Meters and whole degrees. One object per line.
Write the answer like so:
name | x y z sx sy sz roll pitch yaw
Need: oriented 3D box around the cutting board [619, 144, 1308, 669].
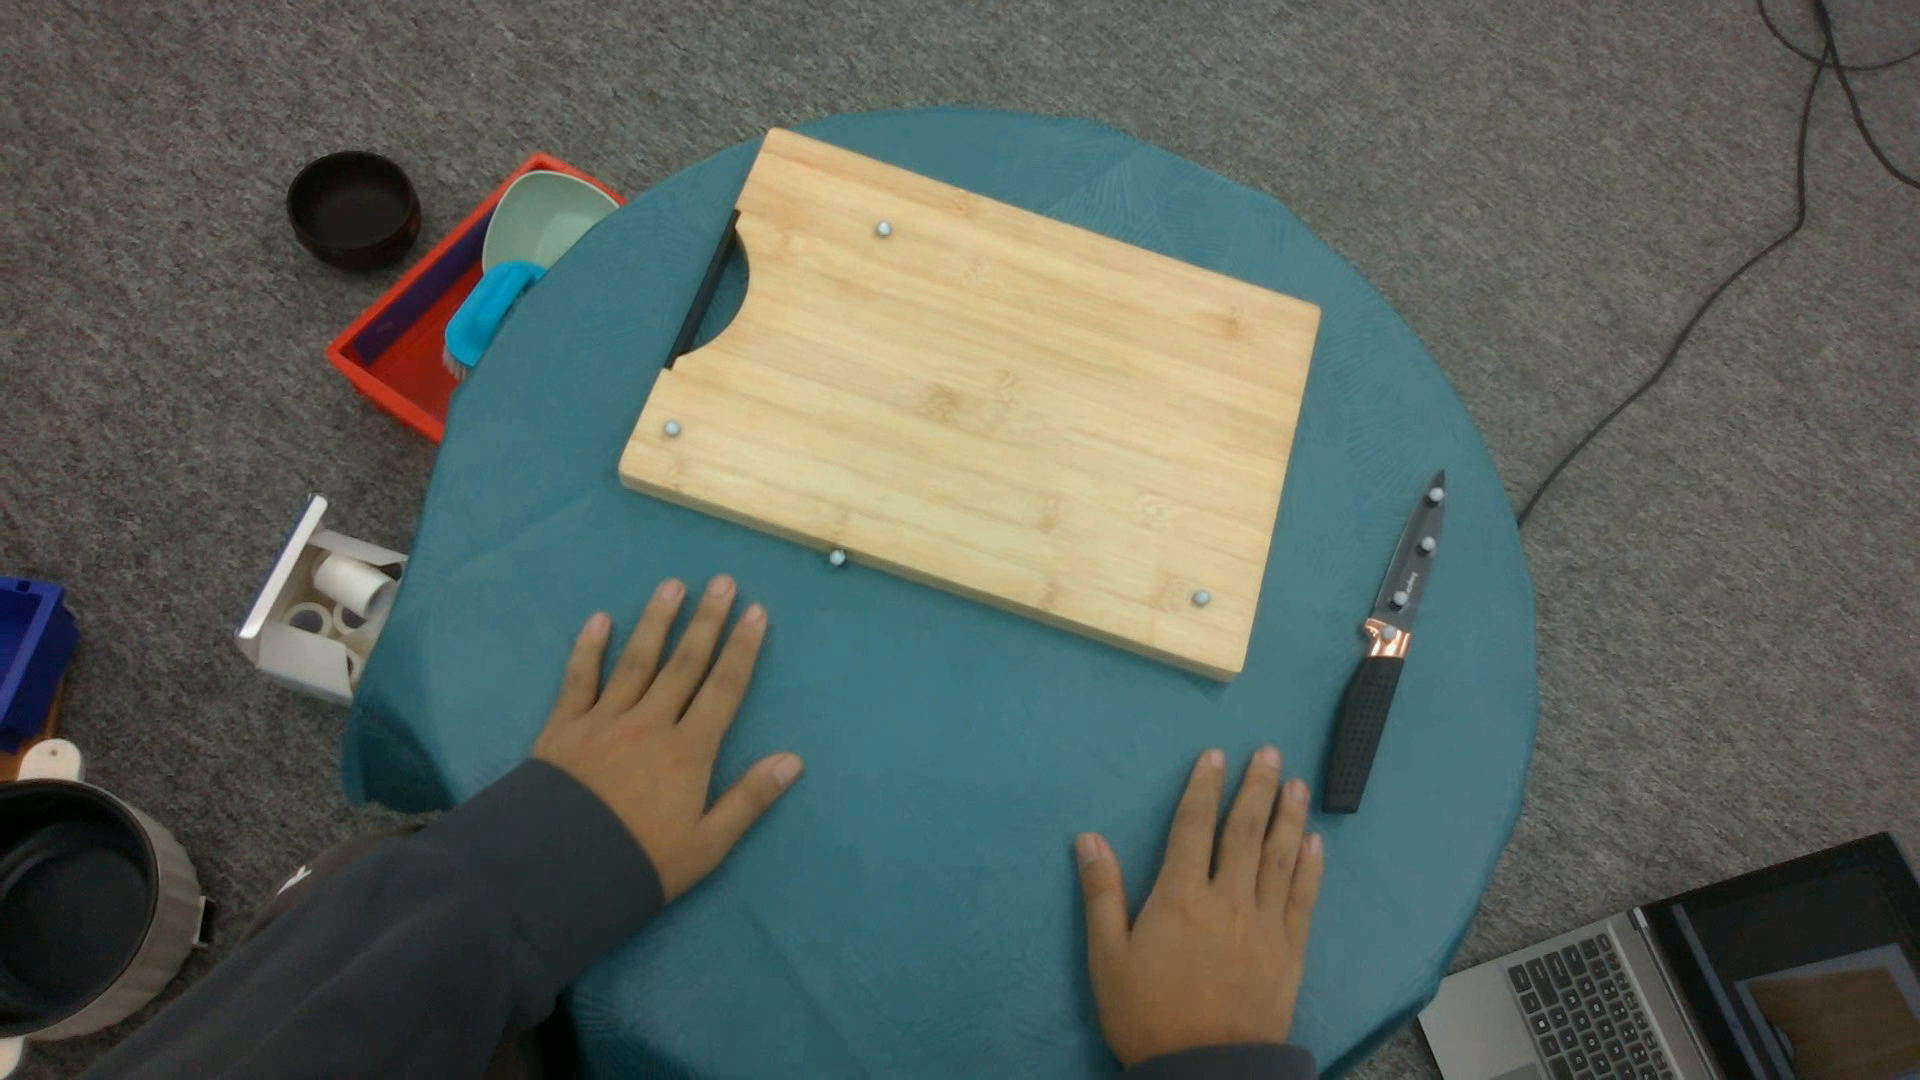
cutting board | 0.013 -0.083 0.780 0.348 0.023 0.251 14 65 0

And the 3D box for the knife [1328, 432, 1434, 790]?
knife | 0.238 0.033 0.757 0.026 0.017 0.226 20 65 9
